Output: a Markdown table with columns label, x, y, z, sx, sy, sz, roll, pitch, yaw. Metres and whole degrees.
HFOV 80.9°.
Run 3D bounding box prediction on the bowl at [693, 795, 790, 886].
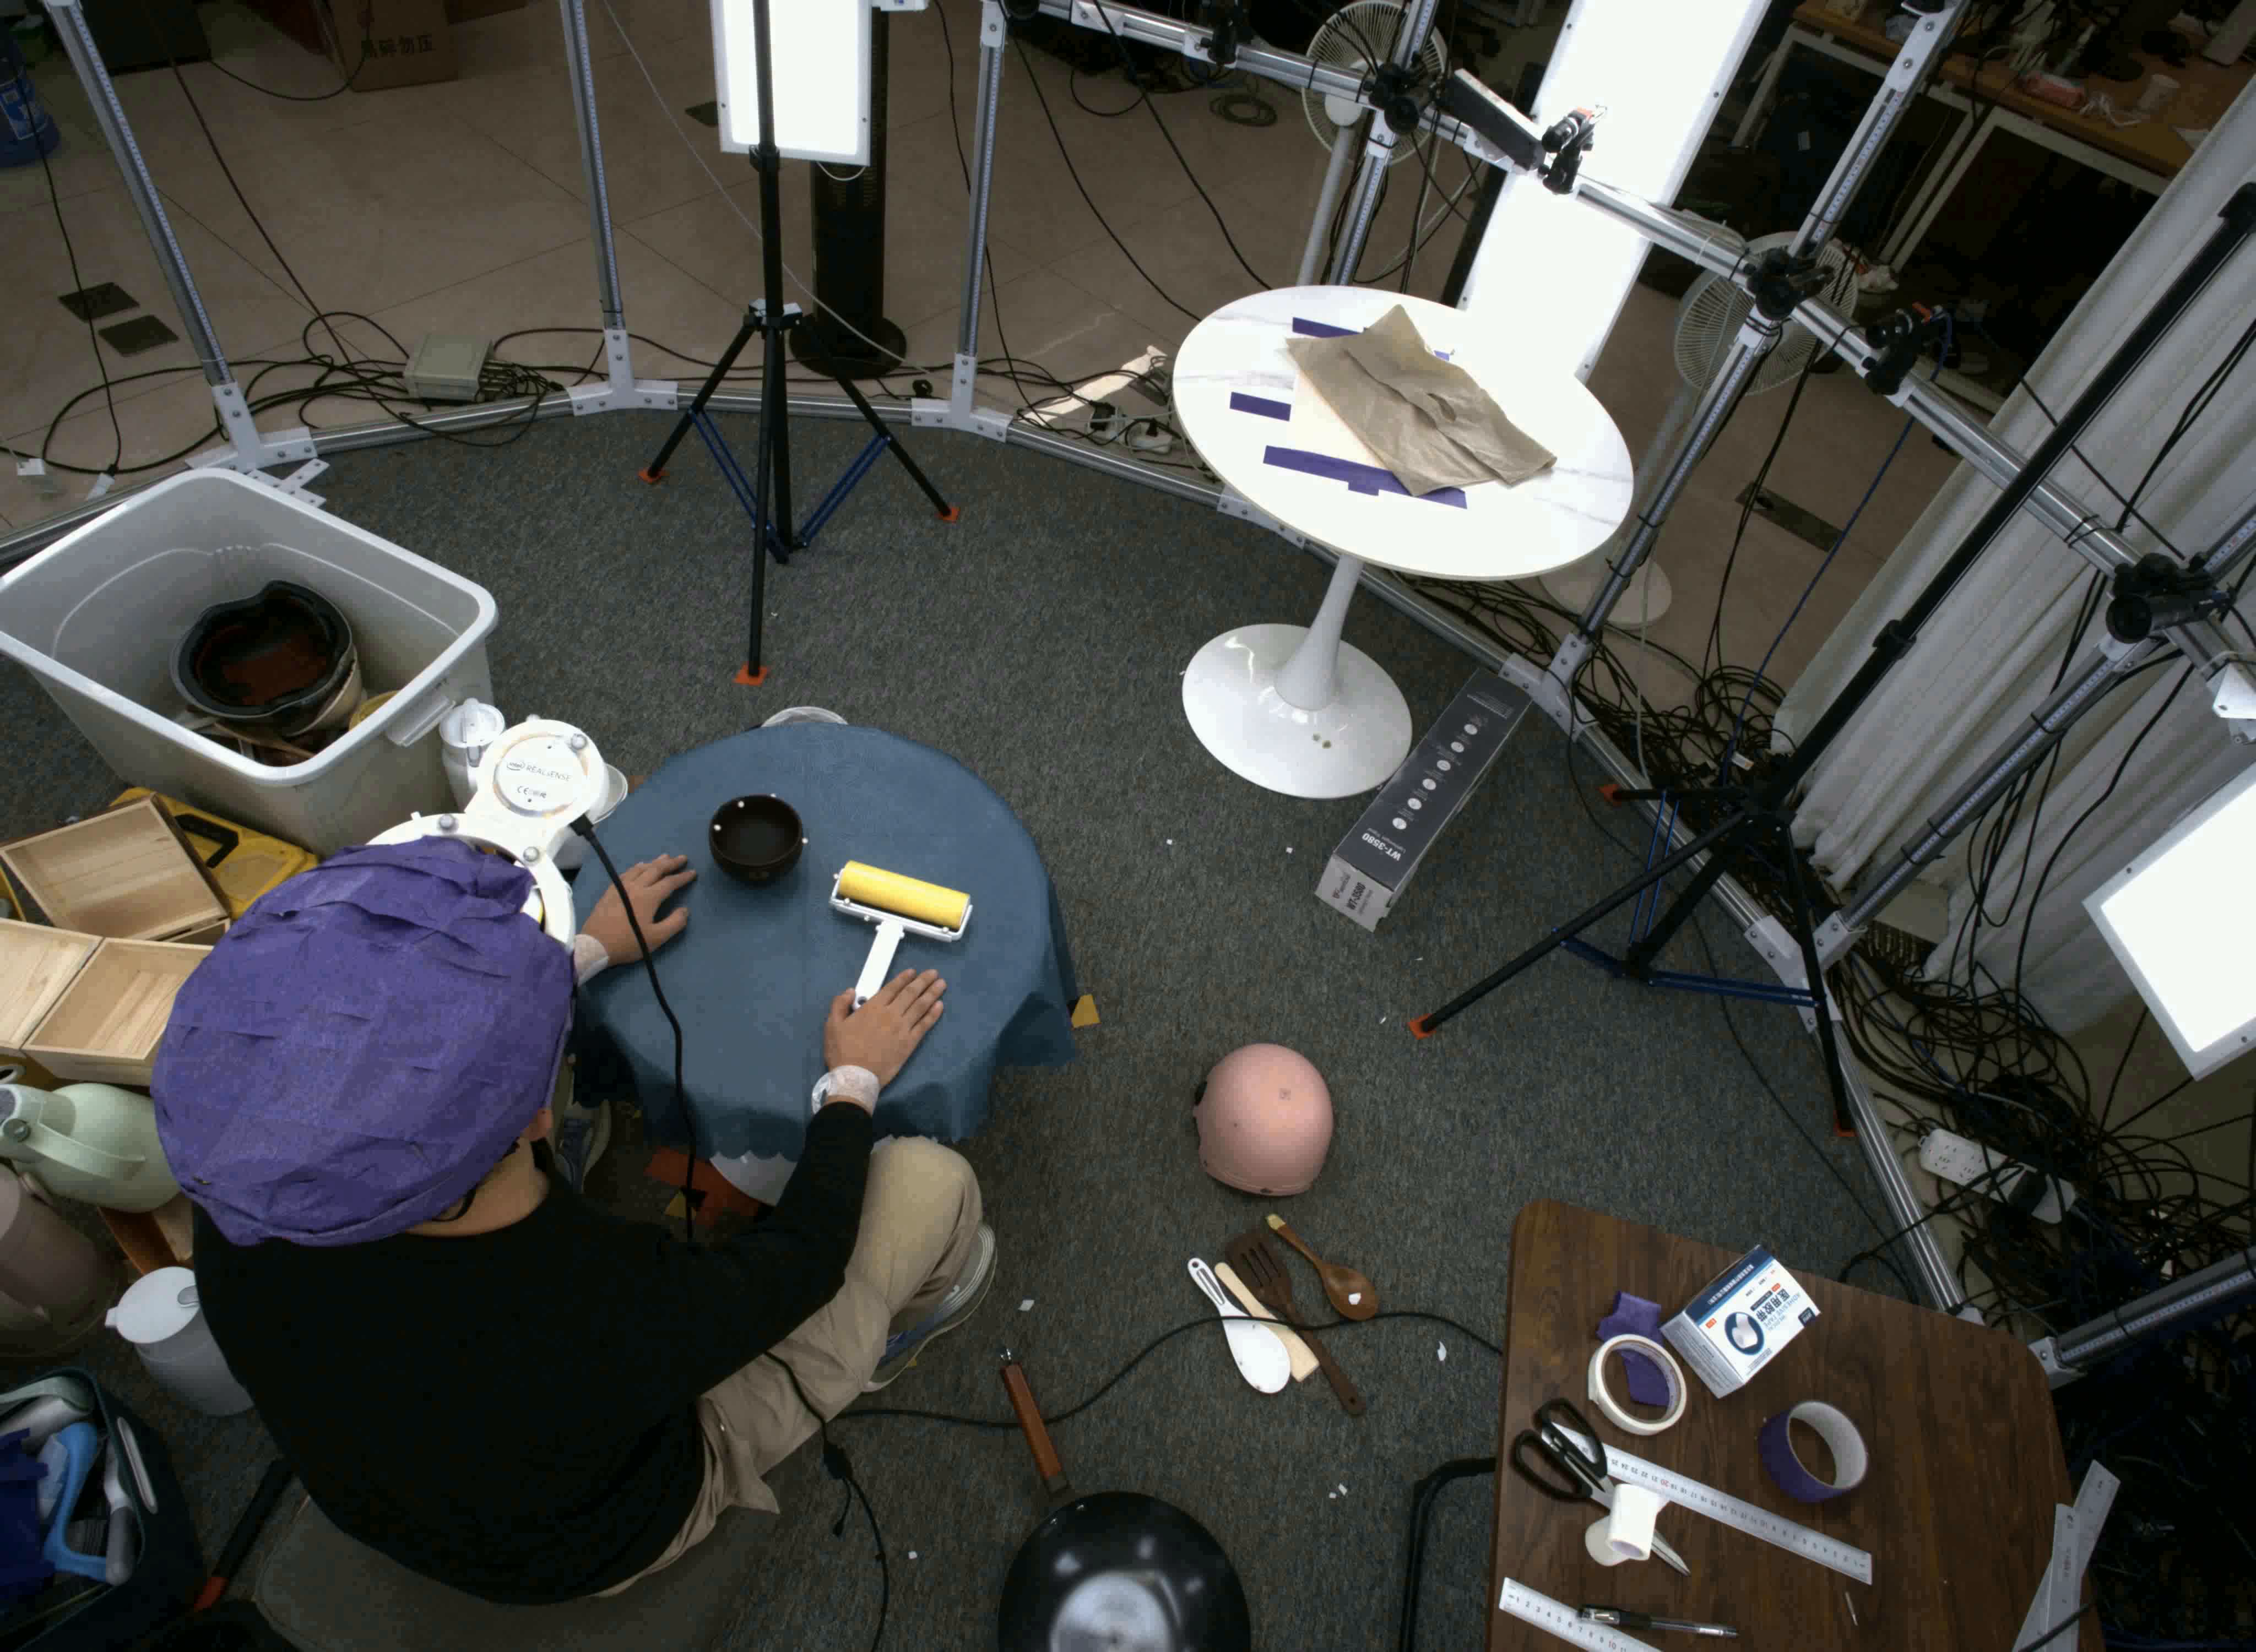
| label | x | y | z | sx | sy | sz | roll | pitch | yaw |
| --- | --- | --- | --- | --- | --- | --- | --- | --- | --- |
| bowl | -0.487 | 0.025 | 1.635 | 0.118 | 0.071 | 0.116 | 8 | 51 | -8 |

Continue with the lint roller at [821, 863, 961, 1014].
| label | x | y | z | sx | sy | sz | roll | pitch | yaw |
| --- | --- | --- | --- | --- | --- | --- | --- | --- | --- |
| lint roller | -0.311 | 0.139 | 1.612 | 0.173 | 0.052 | 0.189 | 14 | 47 | -3 |
